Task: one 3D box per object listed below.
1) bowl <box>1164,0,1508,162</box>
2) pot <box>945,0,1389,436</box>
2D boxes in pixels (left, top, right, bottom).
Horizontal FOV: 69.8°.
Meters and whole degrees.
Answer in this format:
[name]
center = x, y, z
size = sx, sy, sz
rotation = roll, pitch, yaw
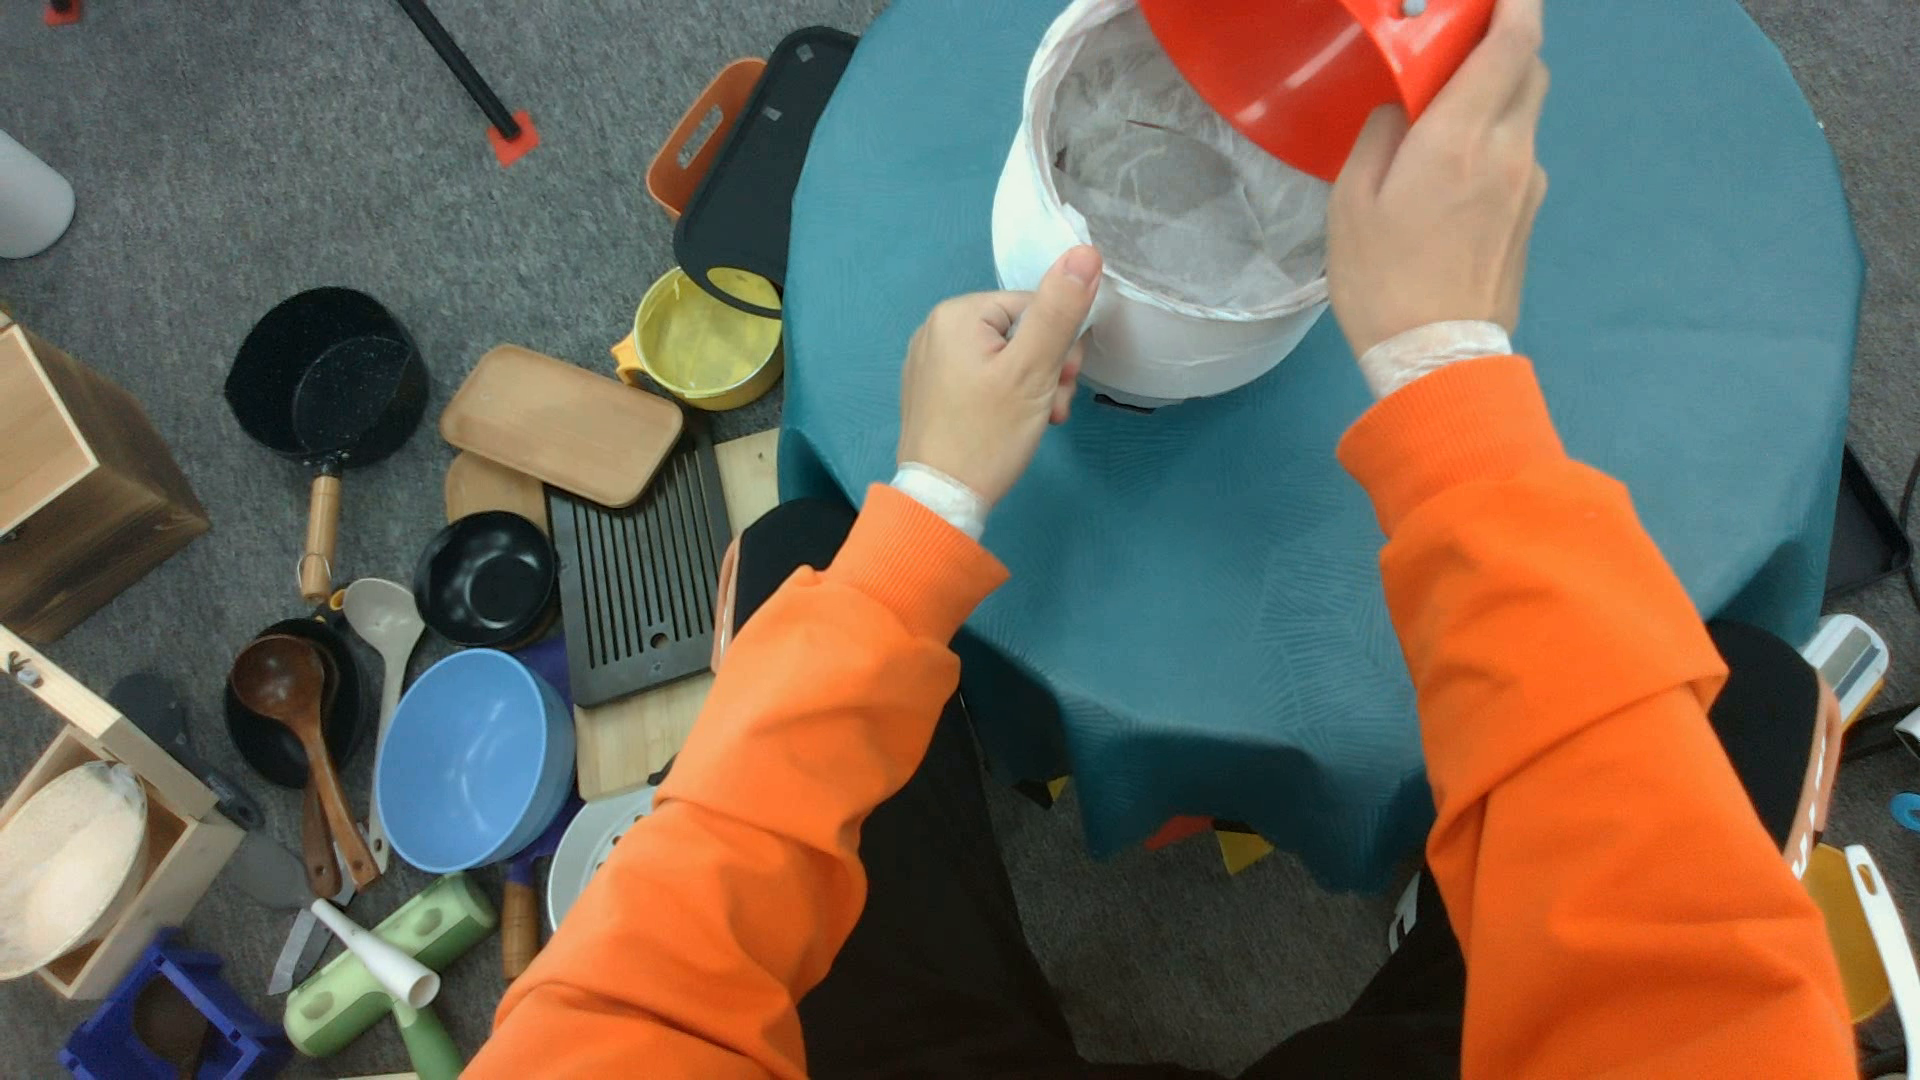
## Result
[bowl]
center = 0.161, -0.238, 0.570
size = 0.104, 0.148, 0.148
rotation = -39, 71, 1
[pot]
center = 0.082, -0.151, 0.667
size = 0.179, 0.136, 0.234
rotation = 39, 74, 4
